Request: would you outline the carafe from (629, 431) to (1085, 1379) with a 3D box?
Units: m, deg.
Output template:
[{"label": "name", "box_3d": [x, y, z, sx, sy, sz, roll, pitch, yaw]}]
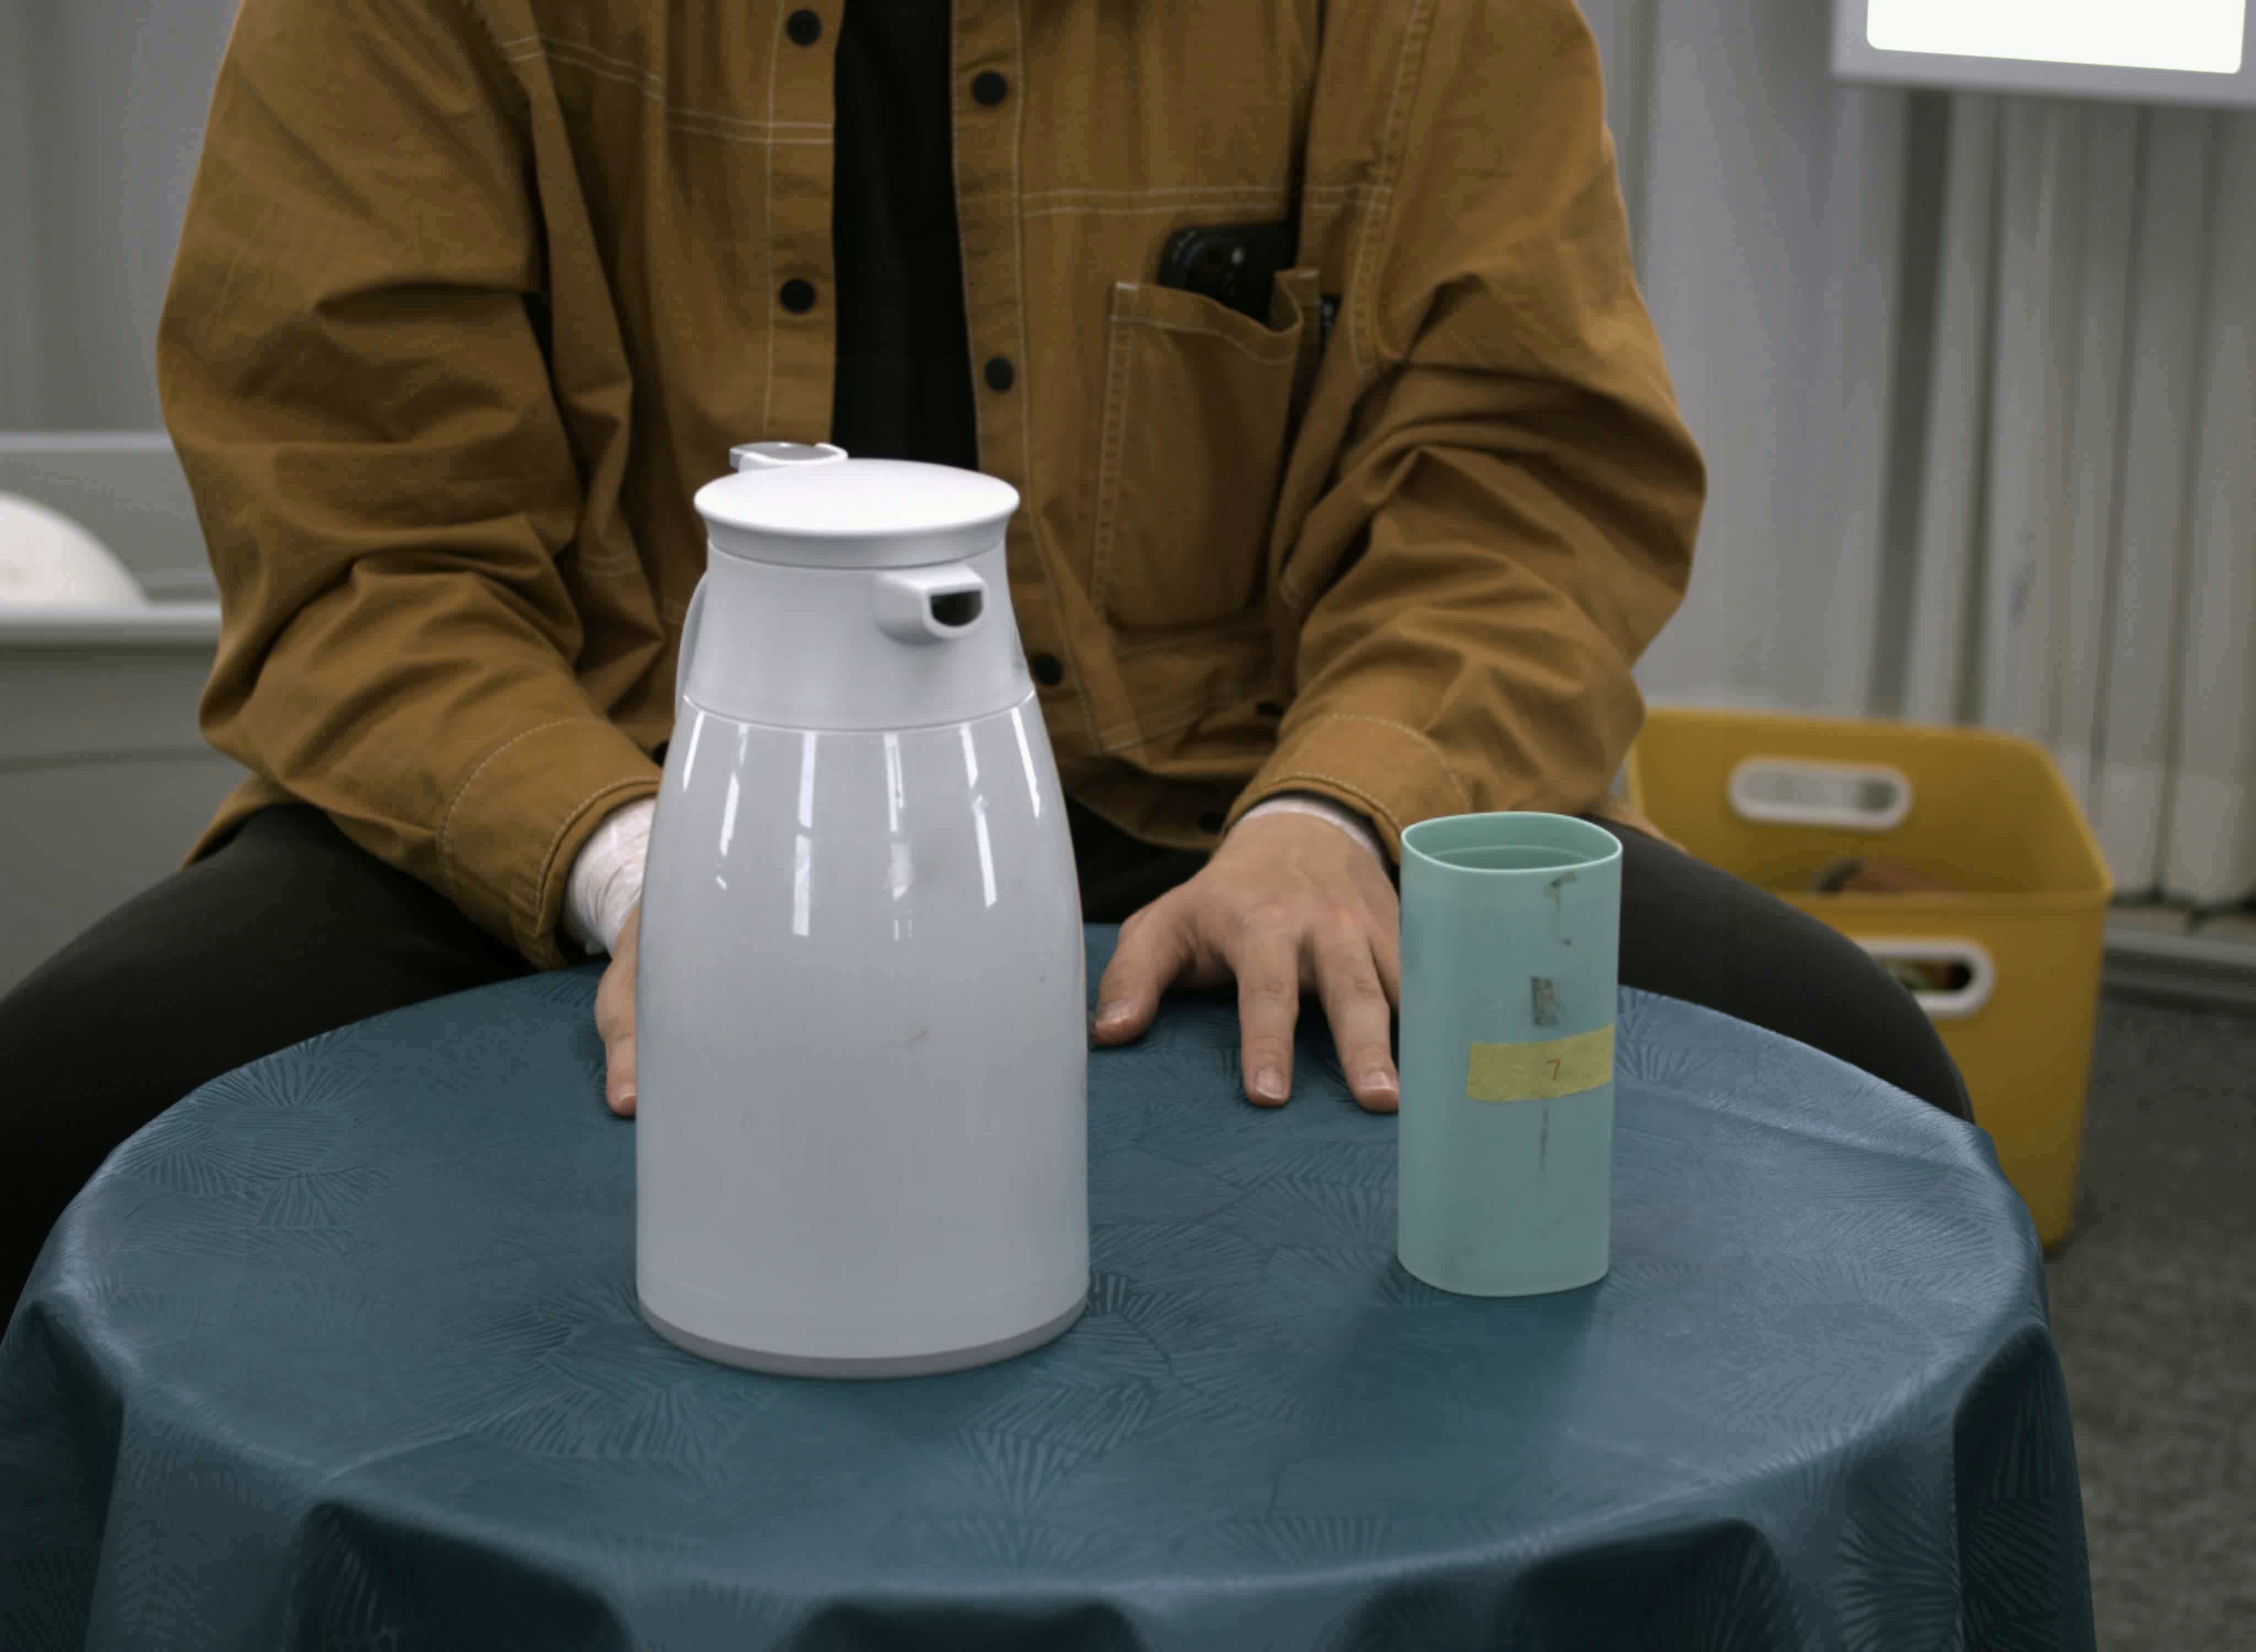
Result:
[{"label": "carafe", "box_3d": [-0.088, 0.014, 1.509, 0.133, 0.250, 0.165, -9, 18, -29]}]

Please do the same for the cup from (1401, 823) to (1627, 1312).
[{"label": "cup", "box_3d": [0.112, 0.069, 1.547, 0.066, 0.133, 0.066, 1, 17, 0]}]
